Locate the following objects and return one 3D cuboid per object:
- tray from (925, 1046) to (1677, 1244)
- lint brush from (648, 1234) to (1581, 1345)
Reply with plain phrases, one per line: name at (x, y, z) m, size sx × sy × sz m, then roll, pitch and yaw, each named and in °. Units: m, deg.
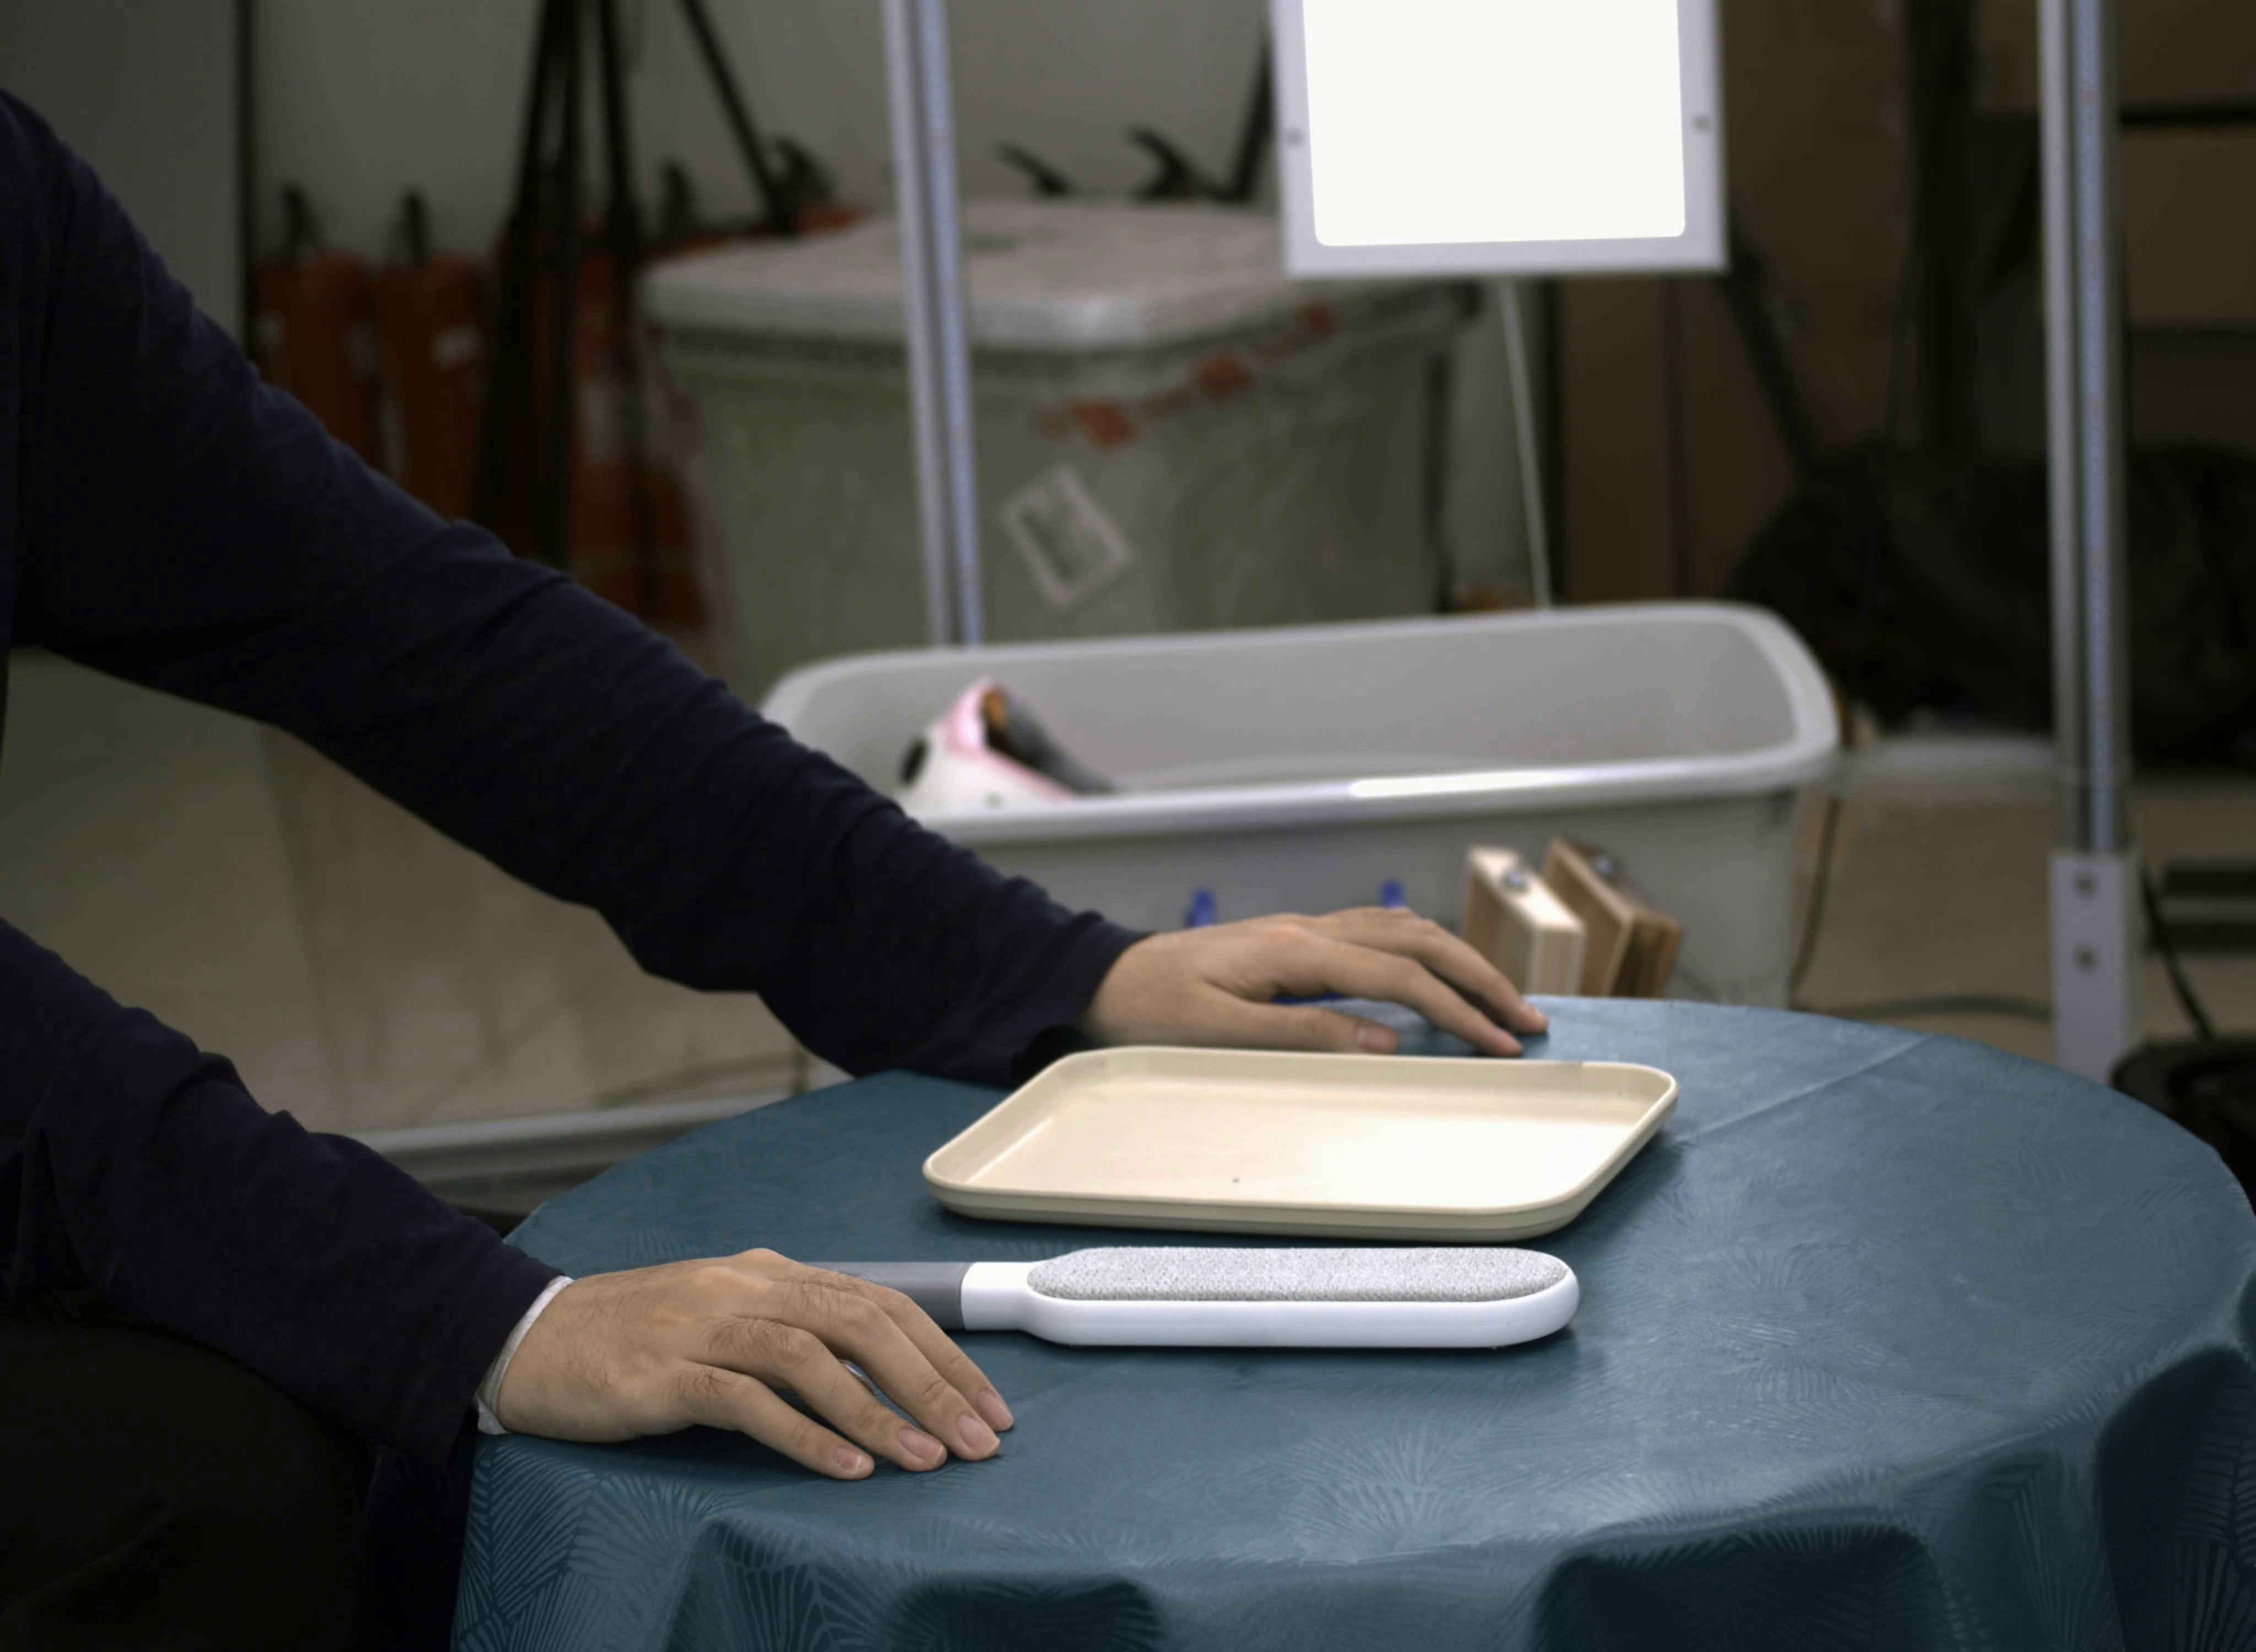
tray at (0.062, 0.110, 1.910) m, size 0.243 × 0.017 × 0.168 m, roll 1°, pitch 16°, yaw 23°
lint brush at (-0.008, 0.147, 1.764) m, size 0.312 × 0.021 × 0.059 m, roll -1°, pitch 20°, yaw 18°
